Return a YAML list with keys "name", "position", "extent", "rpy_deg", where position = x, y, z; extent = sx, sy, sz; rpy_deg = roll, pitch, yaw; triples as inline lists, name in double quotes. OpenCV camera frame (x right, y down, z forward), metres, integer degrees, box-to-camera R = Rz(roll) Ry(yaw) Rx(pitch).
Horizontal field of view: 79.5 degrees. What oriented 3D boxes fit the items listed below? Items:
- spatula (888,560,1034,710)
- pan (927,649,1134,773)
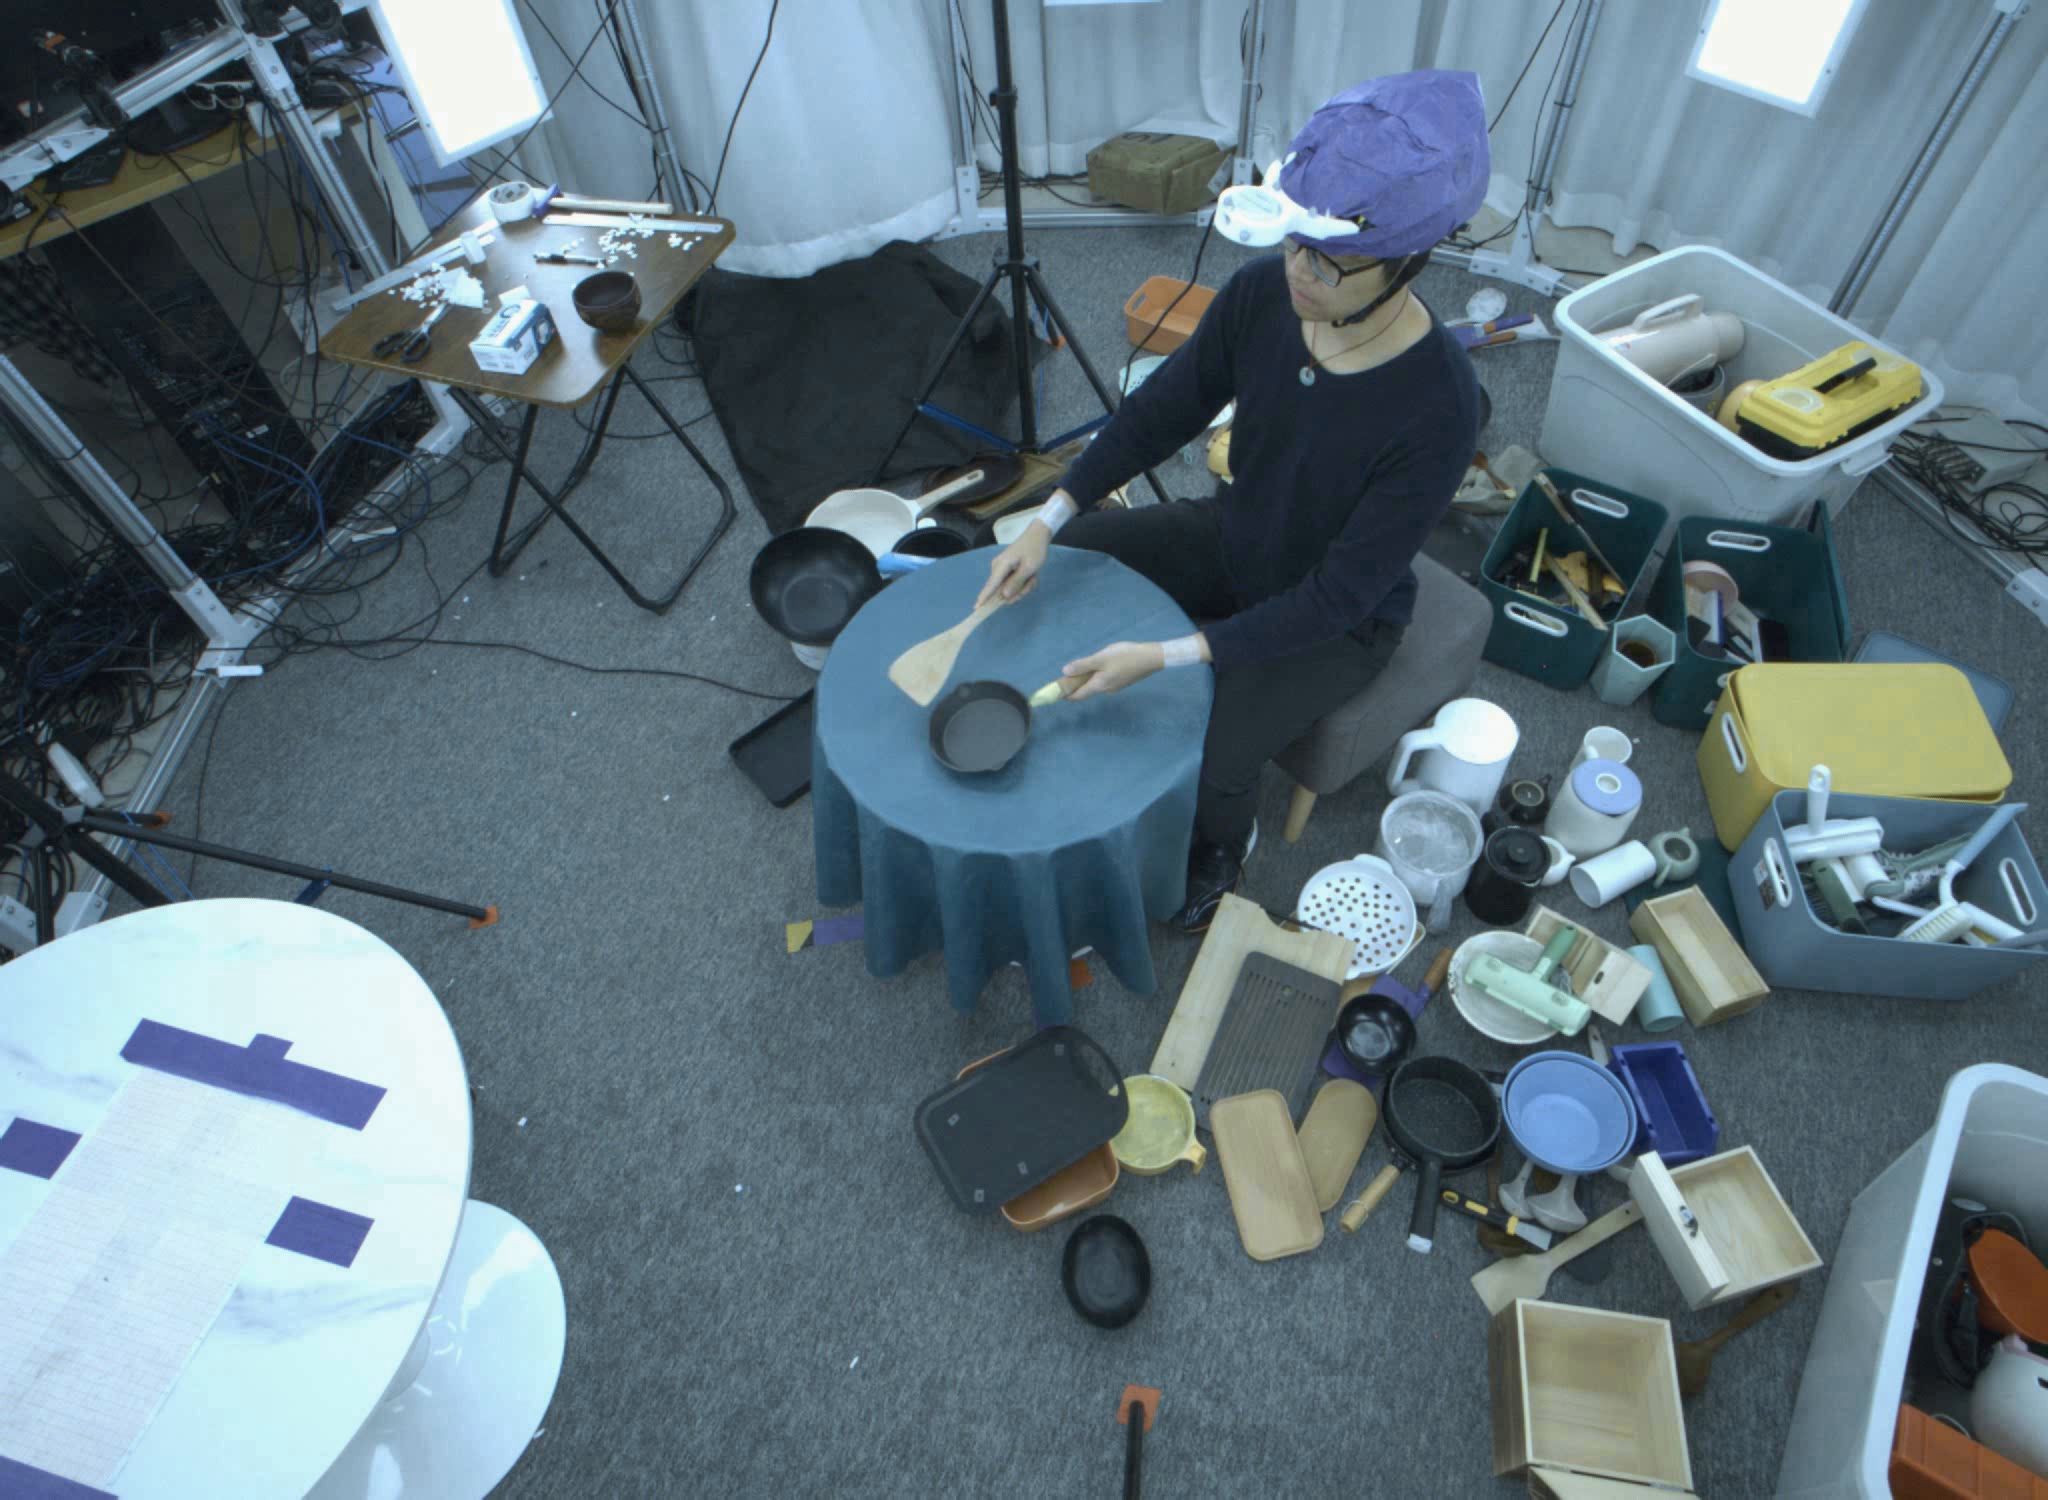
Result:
- name: "spatula"
  position: [-0.081, -0.183, 1.827]
  extent: [0.016, 0.081, 0.329]
  rpy_deg: [-7, 36, 53]
- name: "pan"
  position: [0.015, -0.066, 1.772]
  extent: [0.324, 0.050, 0.166]
  rpy_deg: [-24, 57, 0]
